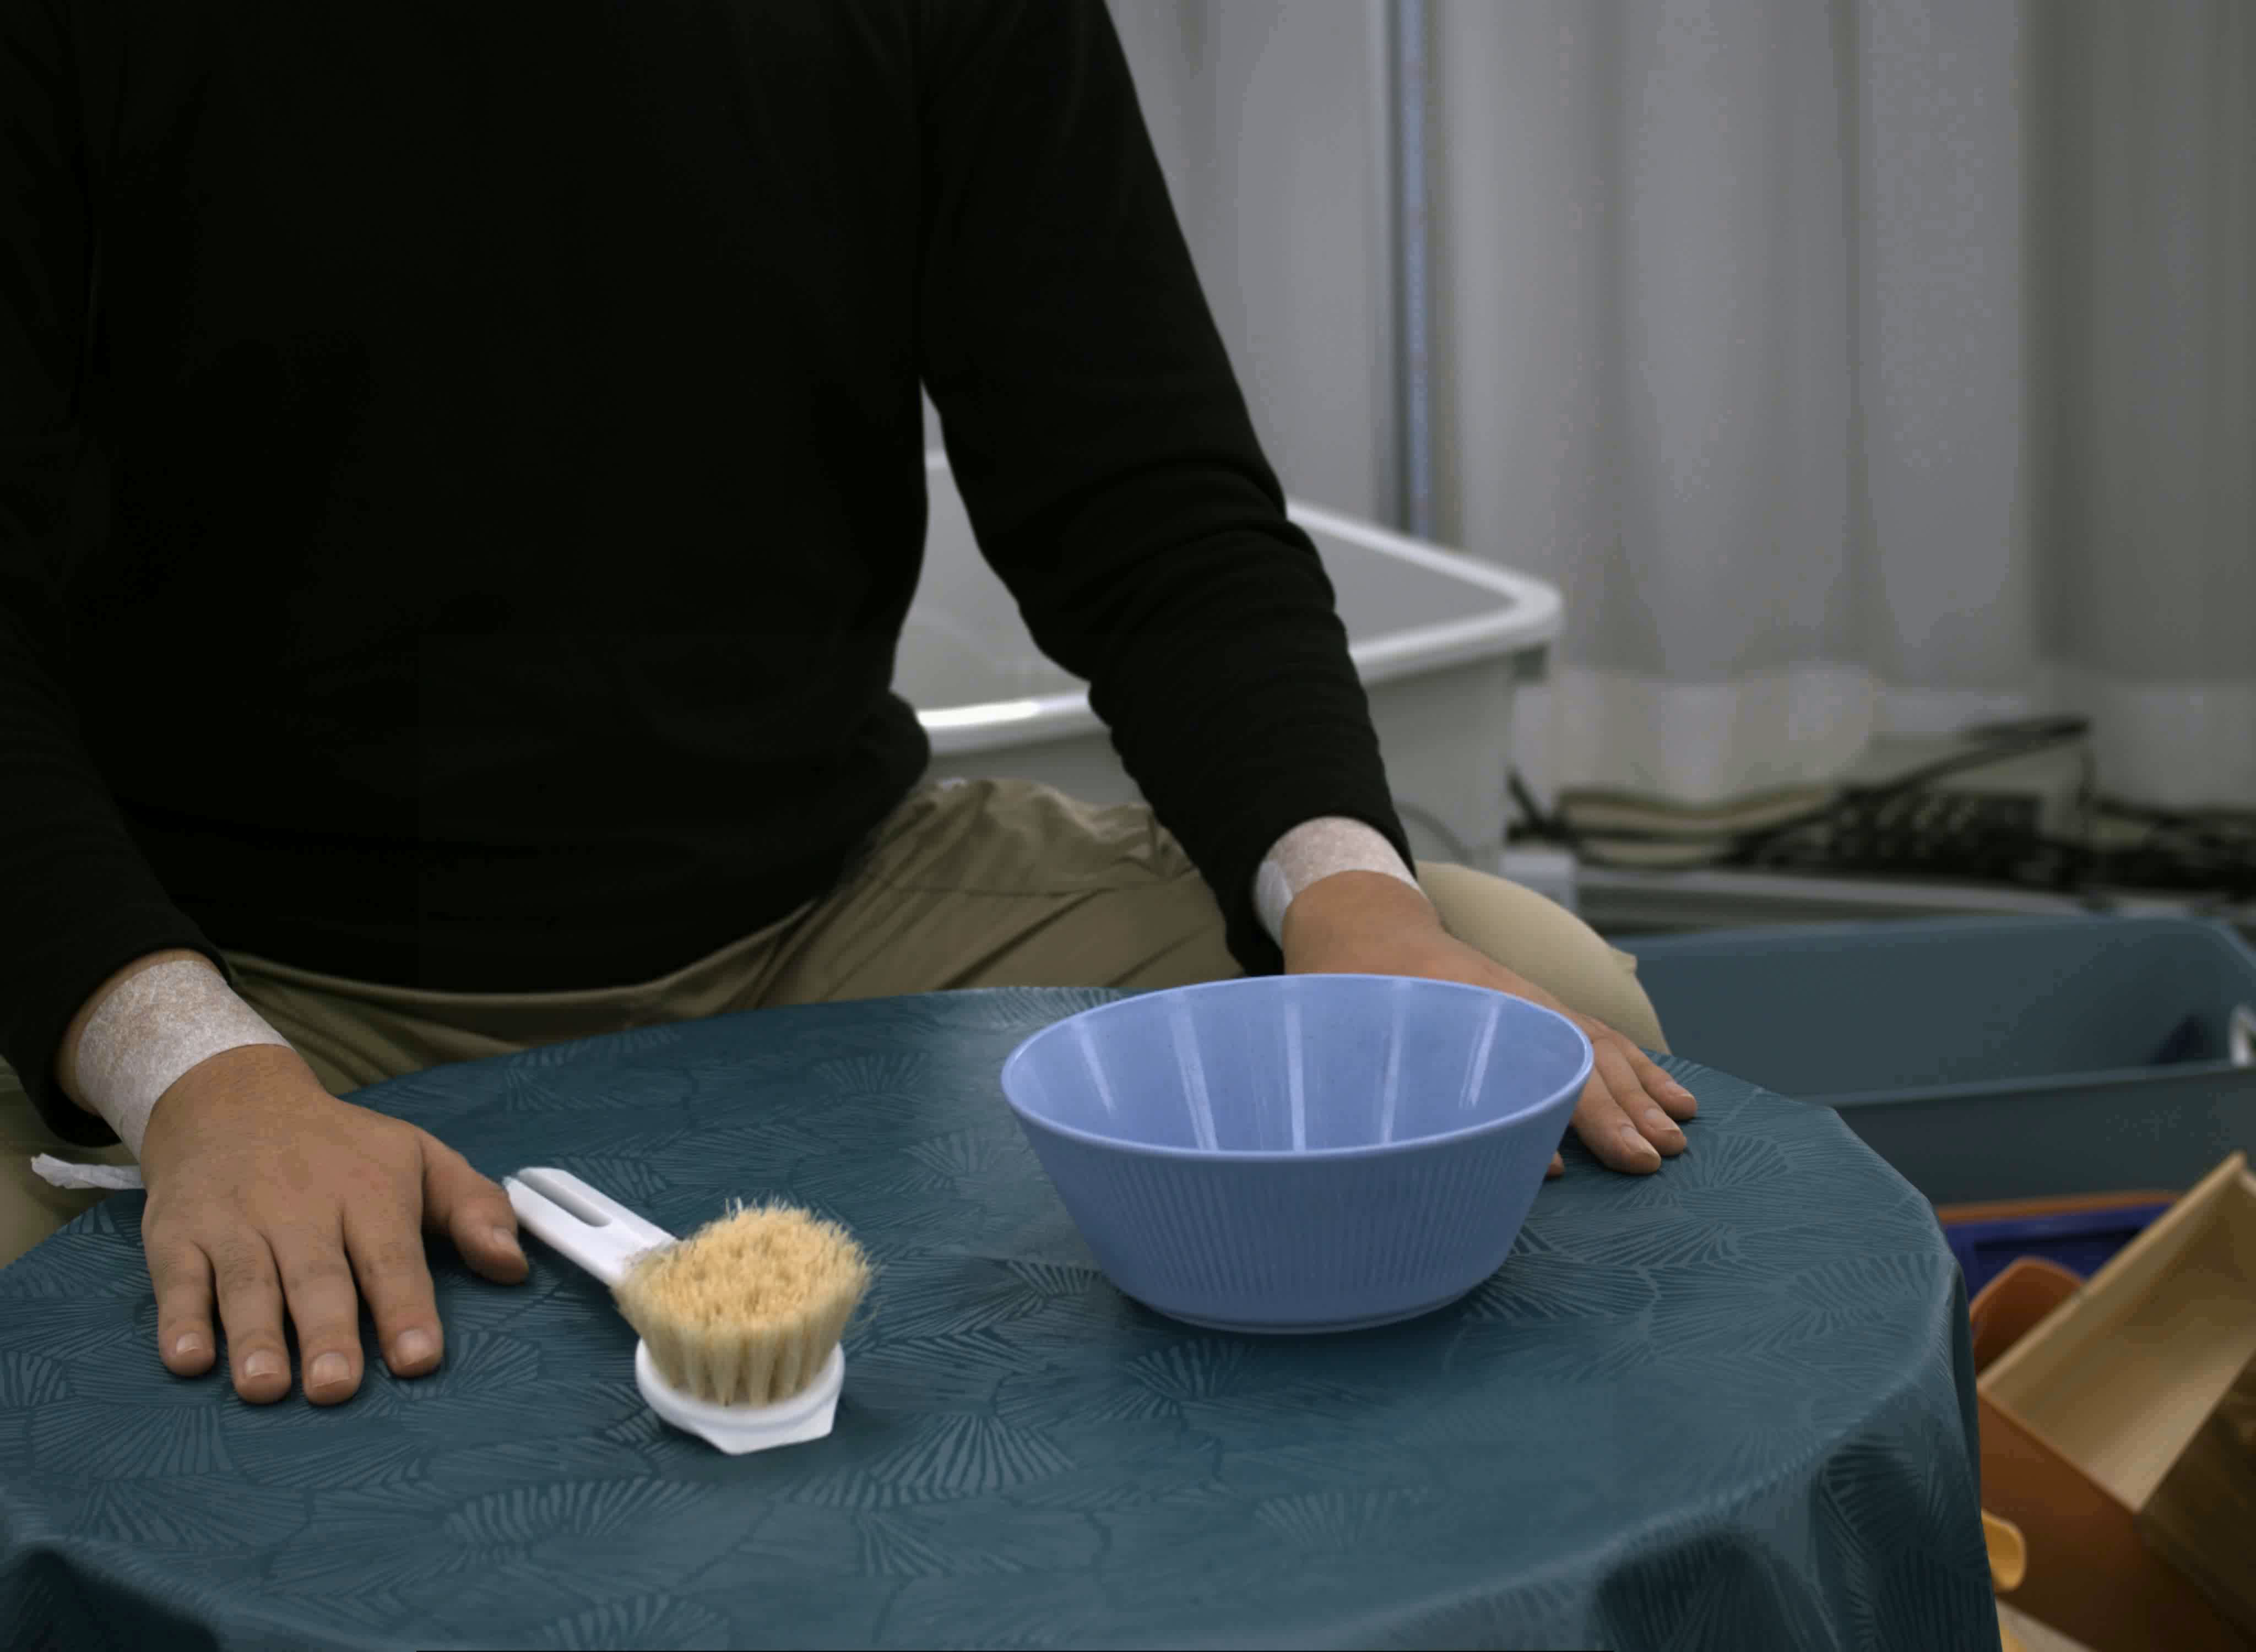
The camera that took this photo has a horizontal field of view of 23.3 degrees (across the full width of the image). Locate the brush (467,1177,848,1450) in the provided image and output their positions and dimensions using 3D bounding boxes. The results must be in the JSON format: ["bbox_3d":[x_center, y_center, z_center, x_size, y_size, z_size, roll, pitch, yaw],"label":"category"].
[{"bbox_3d":[-0.151,0.120,1.621,0.068,0.056,0.268,-3,13,-21],"label":"brush"}]

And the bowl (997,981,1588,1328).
[{"bbox_3d":[0.049,0.100,1.622,0.175,0.070,0.177,-3,13,0],"label":"bowl"}]
